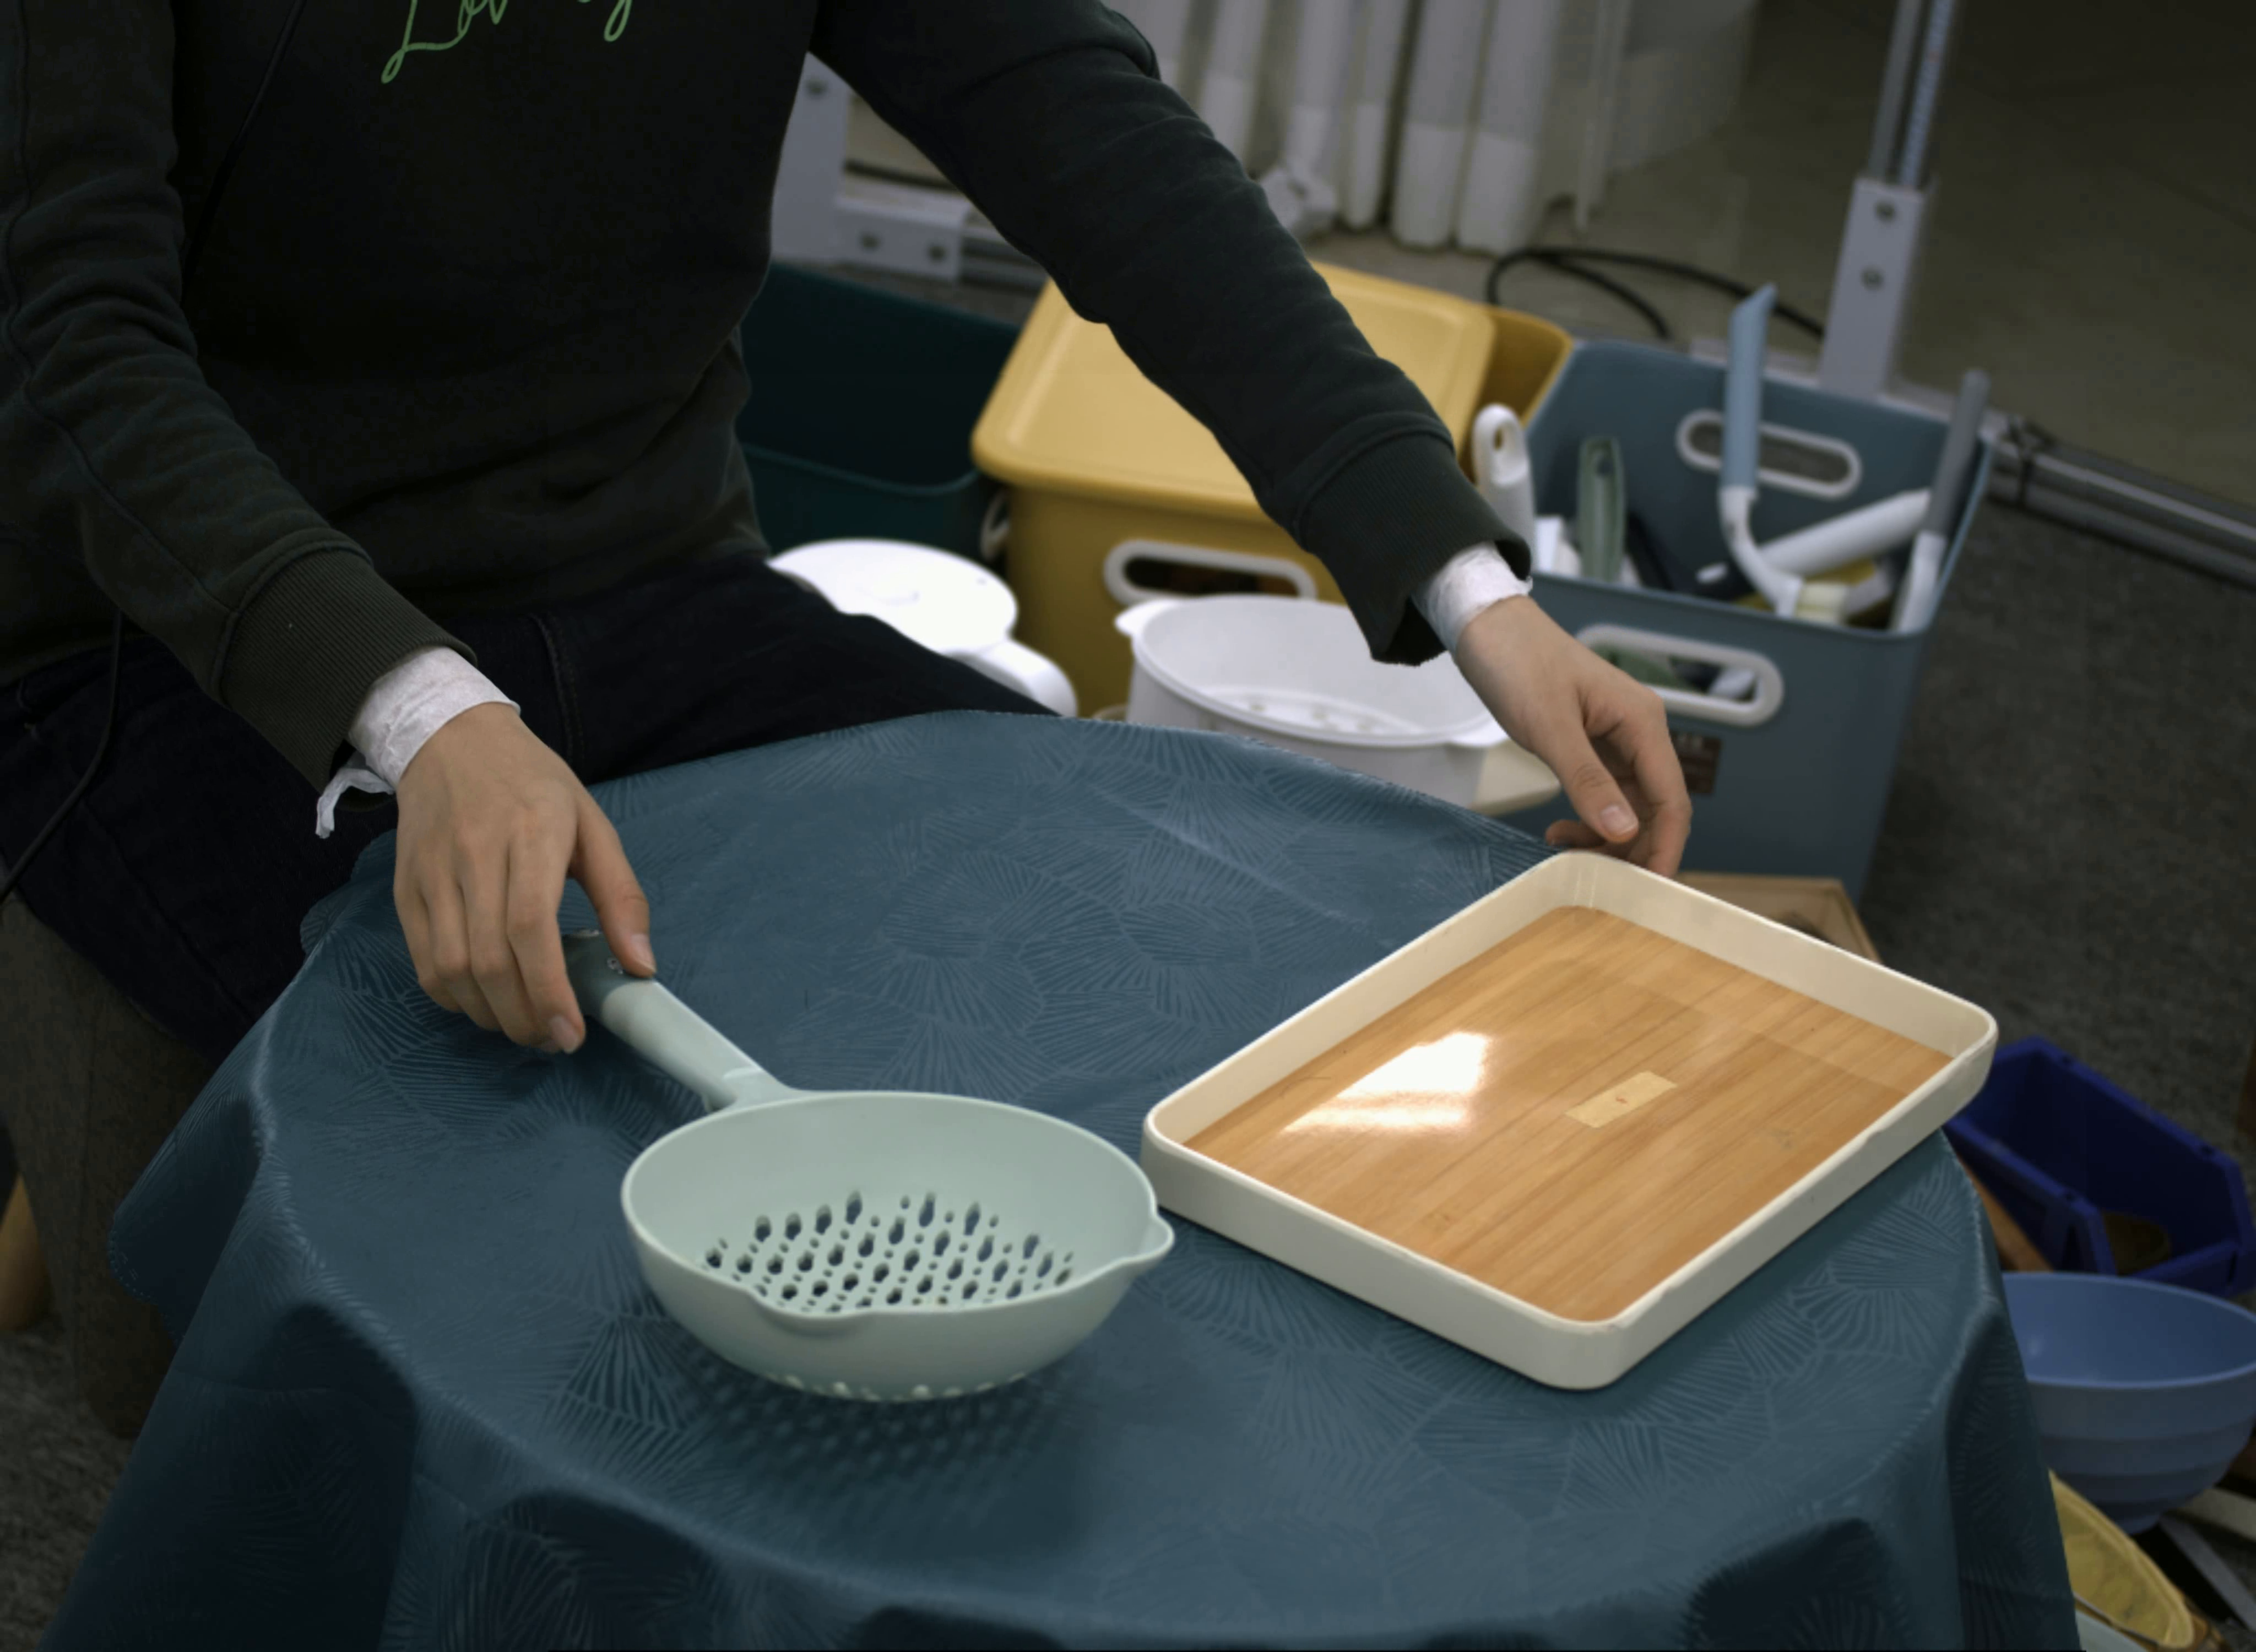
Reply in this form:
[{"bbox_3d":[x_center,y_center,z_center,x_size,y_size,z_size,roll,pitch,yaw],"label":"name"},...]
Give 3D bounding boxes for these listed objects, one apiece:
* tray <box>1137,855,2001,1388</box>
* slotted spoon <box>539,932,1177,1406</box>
[{"bbox_3d":[0.158,0.097,1.860,0.193,0.027,0.299,23,31,29],"label":"tray"},{"bbox_3d":[-0.121,0.097,1.754,0.168,0.075,0.362,-8,30,-27],"label":"slotted spoon"}]
